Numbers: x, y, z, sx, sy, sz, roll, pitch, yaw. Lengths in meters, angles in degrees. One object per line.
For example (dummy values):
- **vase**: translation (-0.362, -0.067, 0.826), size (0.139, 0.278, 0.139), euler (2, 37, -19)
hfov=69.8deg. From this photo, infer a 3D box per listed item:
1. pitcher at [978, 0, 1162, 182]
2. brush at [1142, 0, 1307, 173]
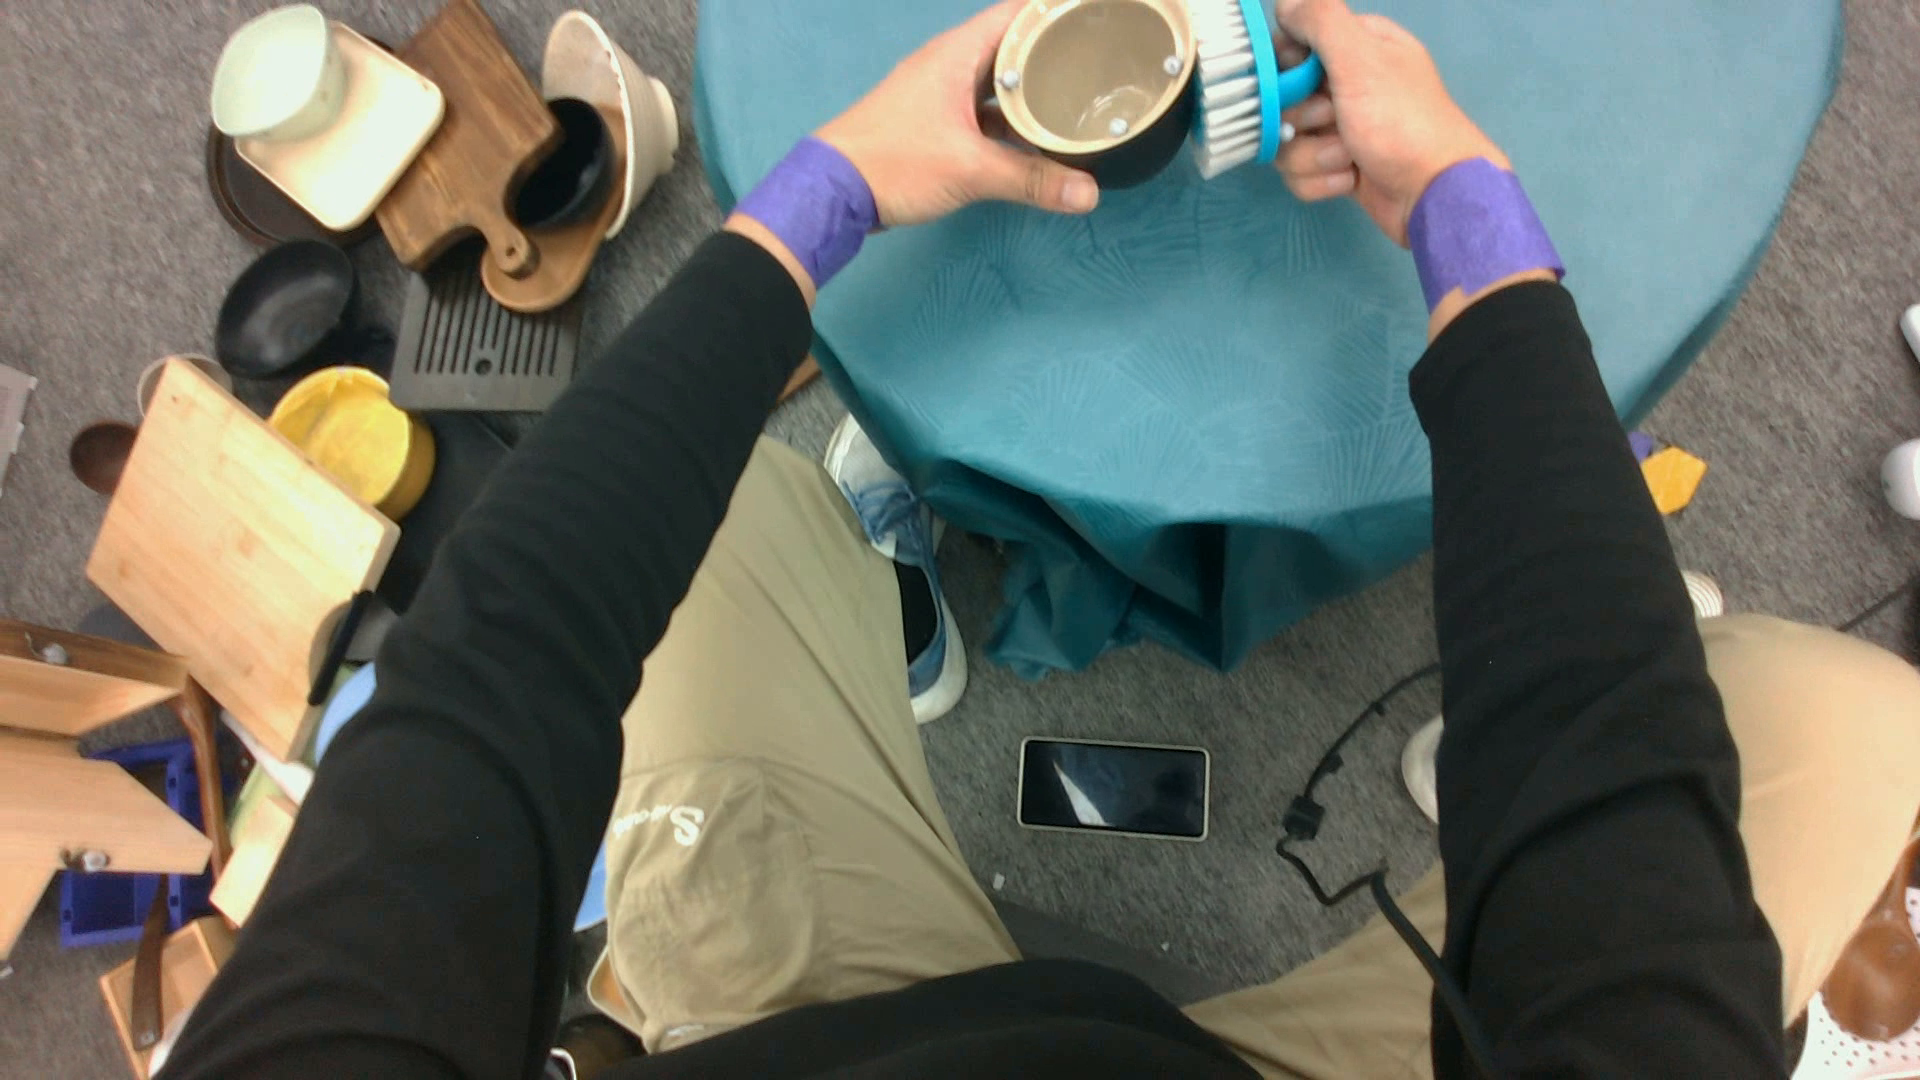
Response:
- **pitcher**: translation (0.059, -0.215, 0.653), size (0.096, 0.071, 0.084), euler (-46, 63, -1)
- **brush**: translation (0.126, -0.239, 0.653), size (0.064, 0.084, 0.142), euler (-7, 62, 1)
